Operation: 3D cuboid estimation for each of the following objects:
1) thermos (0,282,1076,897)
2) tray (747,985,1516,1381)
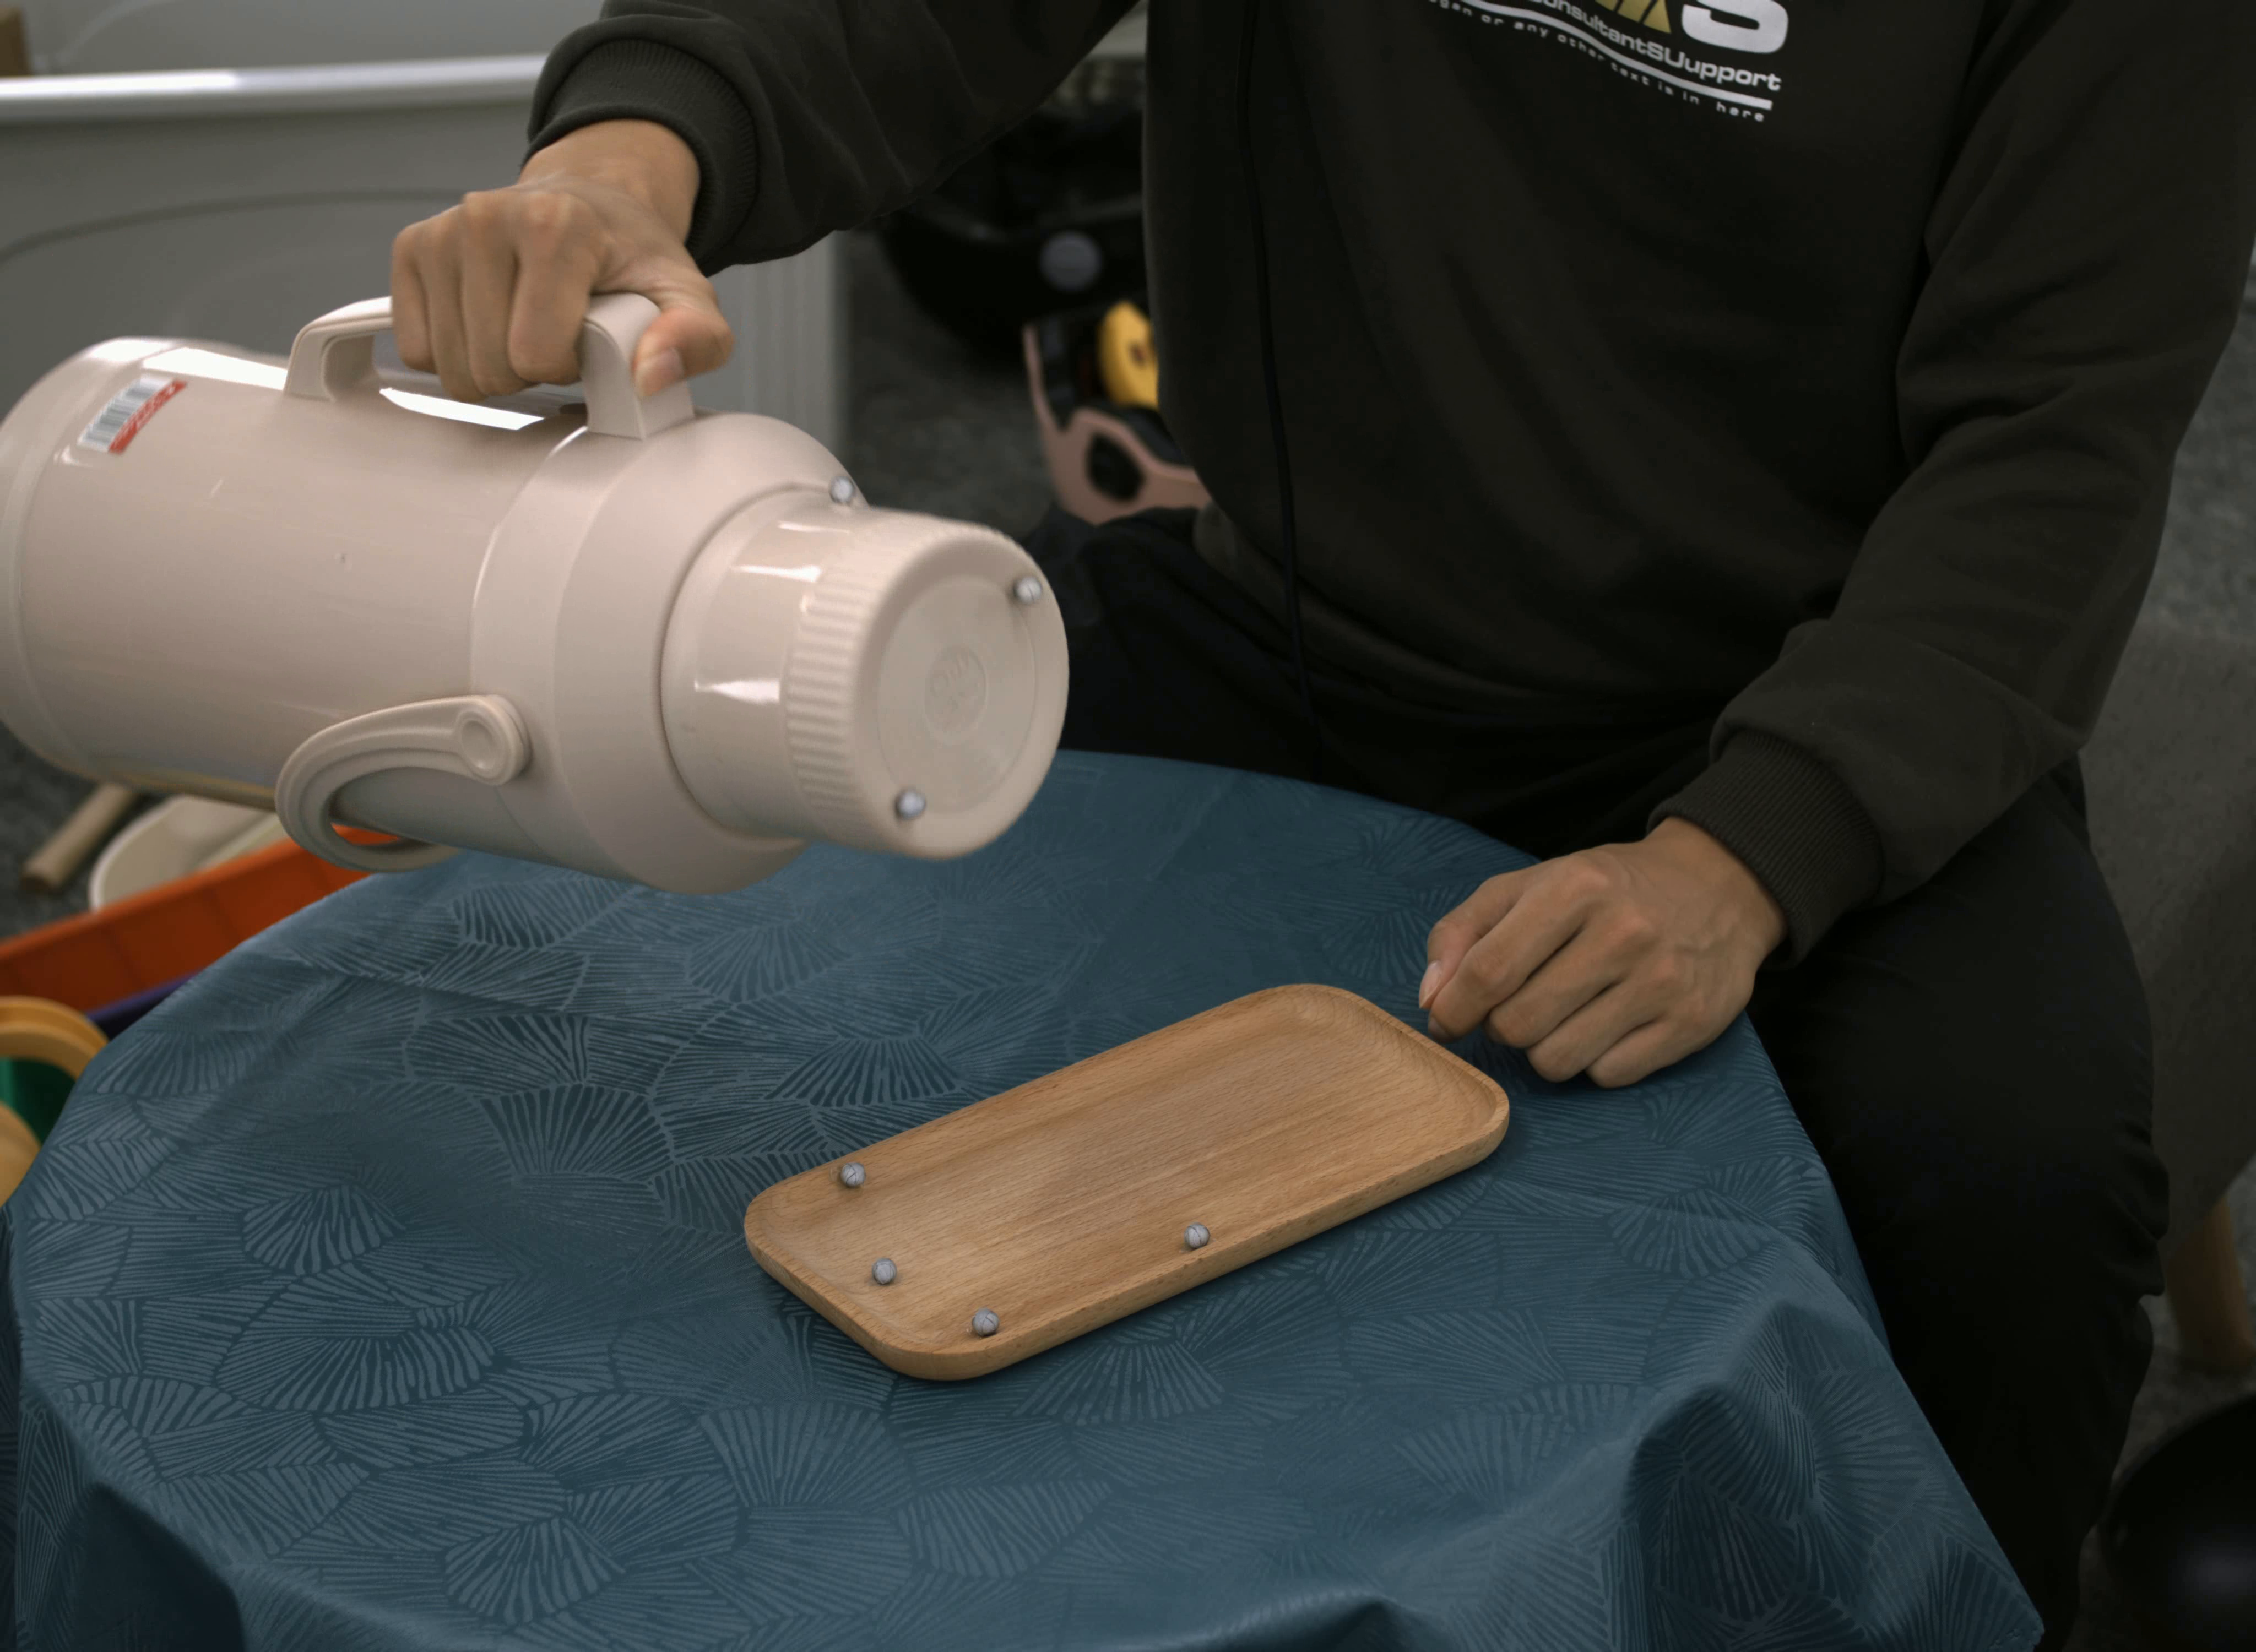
[{"bbox_3d":[-0.201,-0.082,1.862,0.404,0.205,0.177,12,29,40],"label":"thermos"},{"bbox_3d":[0.002,0.116,1.858,0.253,0.022,0.131,-19,34,-30],"label":"tray"}]
